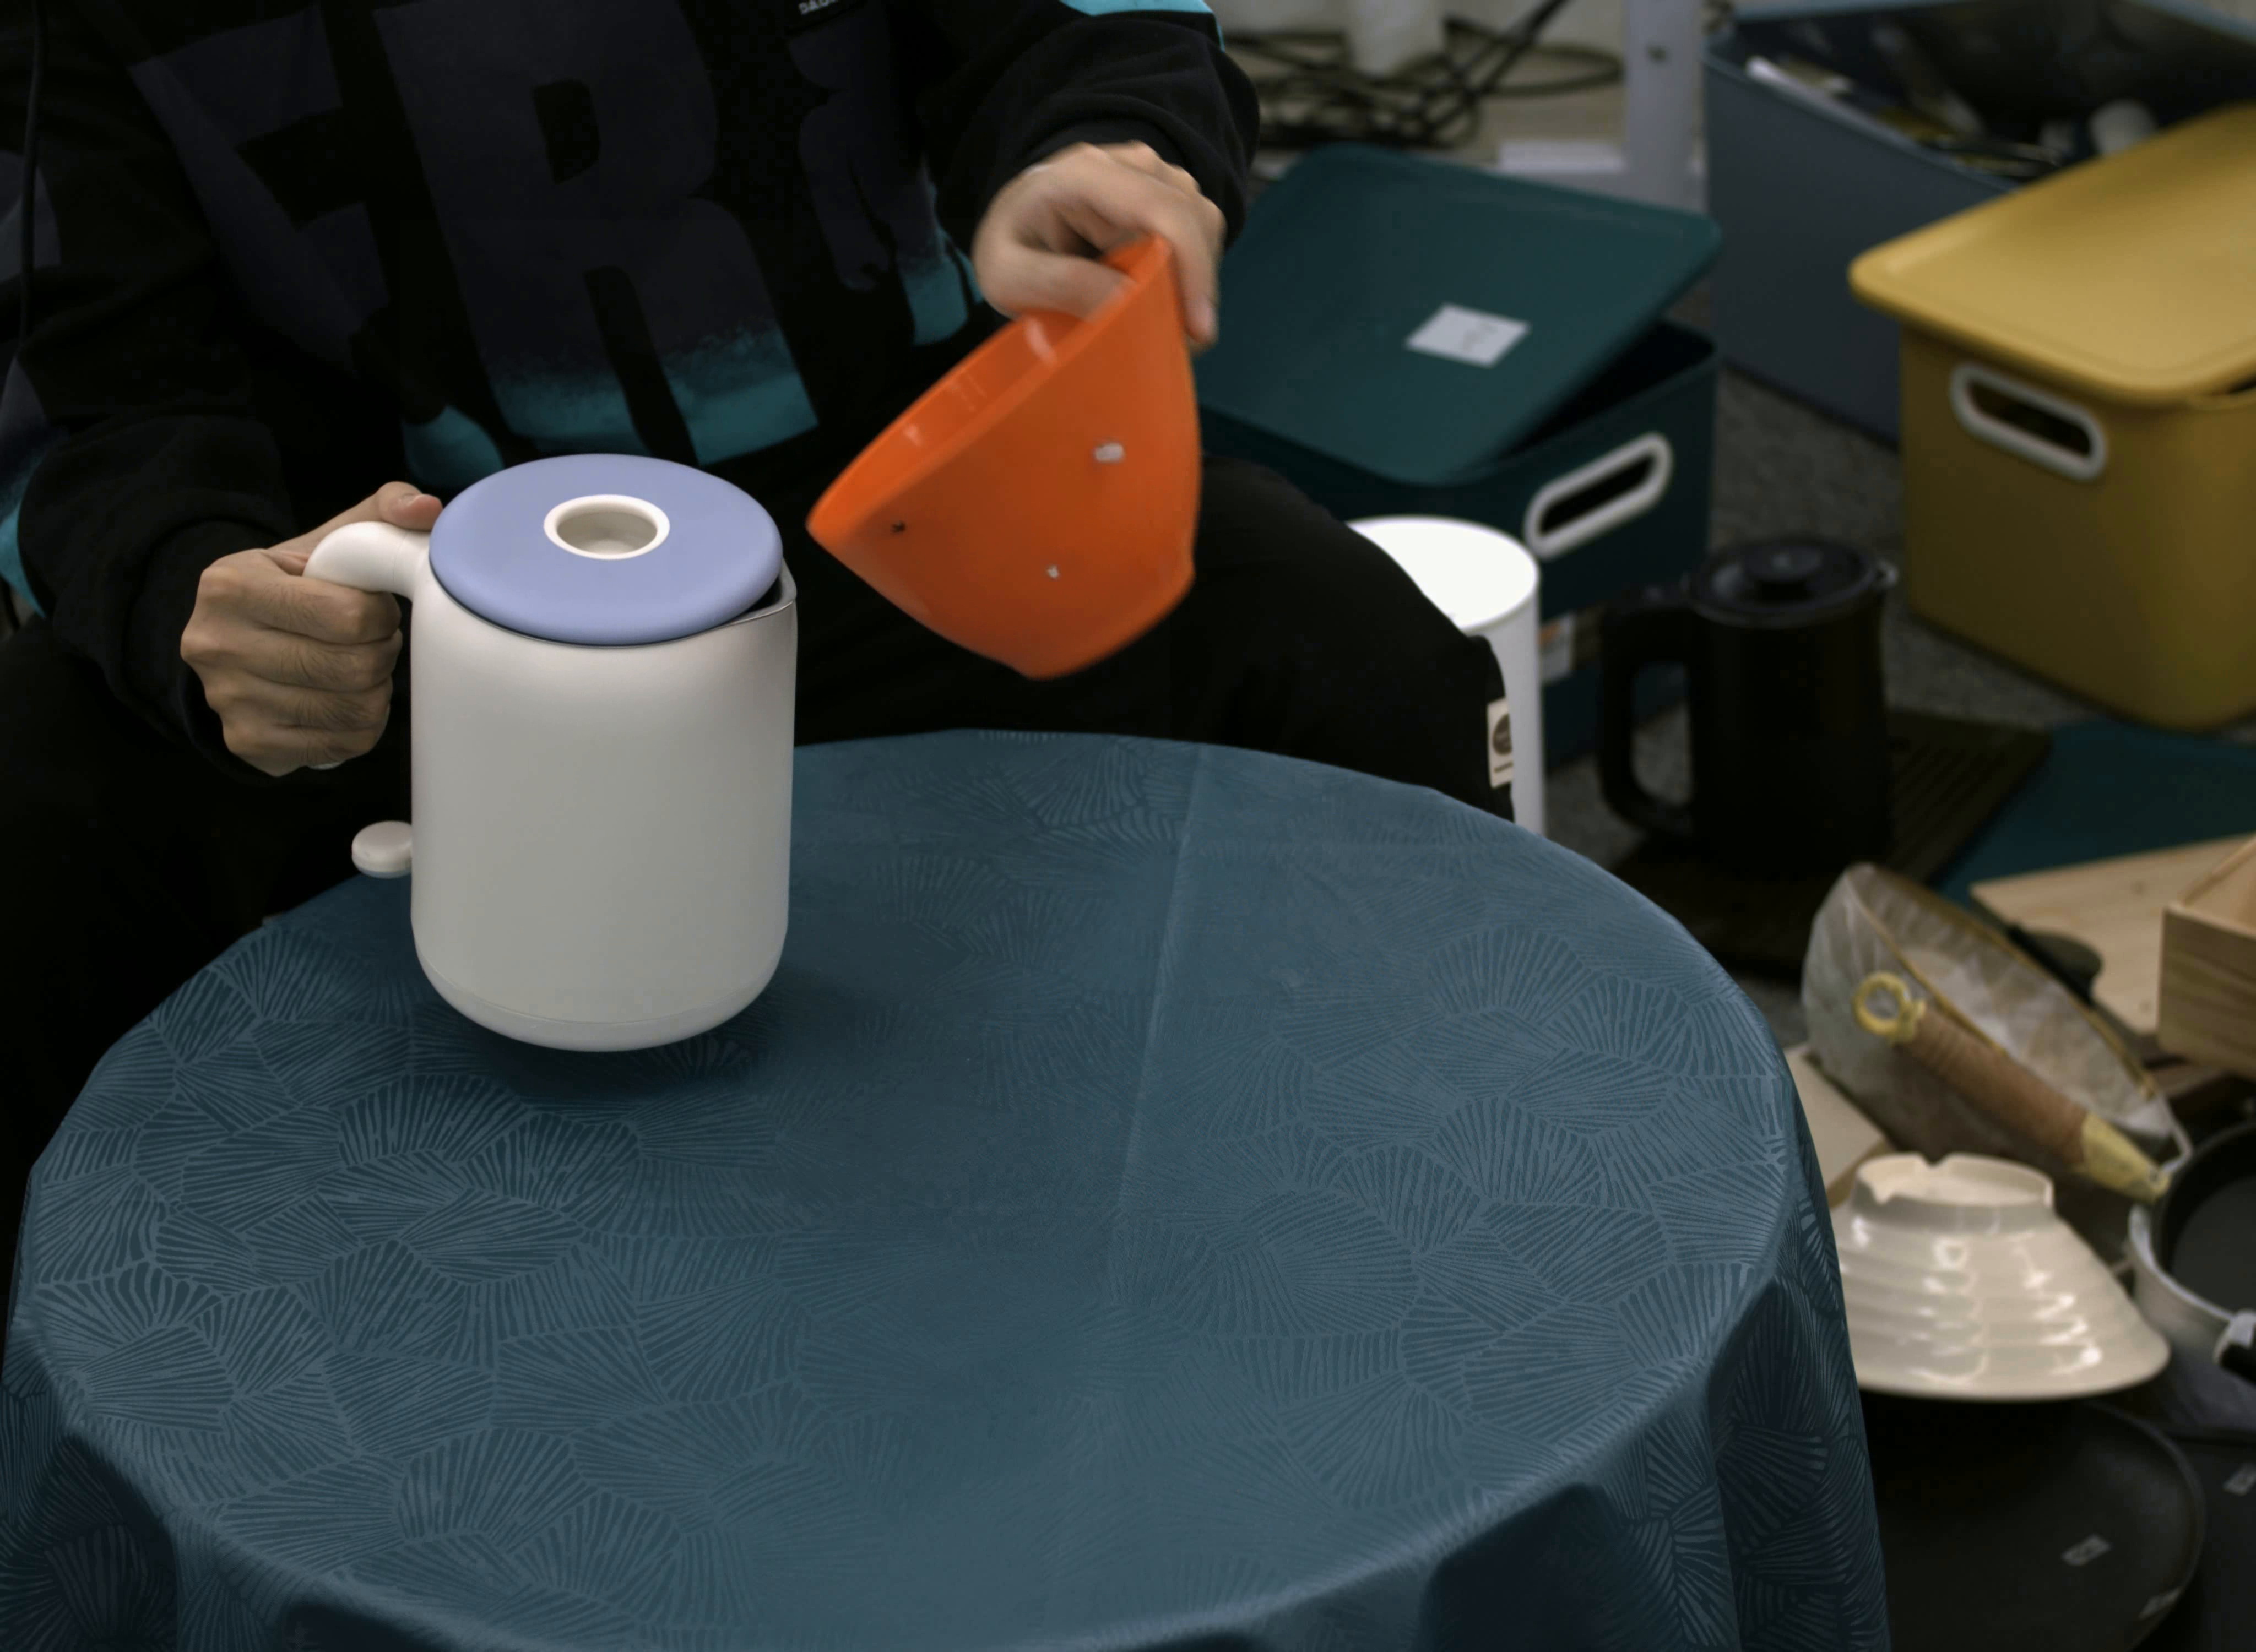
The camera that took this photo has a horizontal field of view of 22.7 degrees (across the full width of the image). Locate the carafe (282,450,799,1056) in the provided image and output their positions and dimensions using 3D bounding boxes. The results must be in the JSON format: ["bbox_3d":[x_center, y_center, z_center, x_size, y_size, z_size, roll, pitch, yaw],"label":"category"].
[{"bbox_3d":[-0.202,-0.030,1.928,0.190,0.180,0.134,11,31,15],"label":"carafe"}]

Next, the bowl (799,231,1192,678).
[{"bbox_3d":[-0.028,-0.111,1.822,0.147,0.104,0.150,-30,16,10],"label":"bowl"}]
